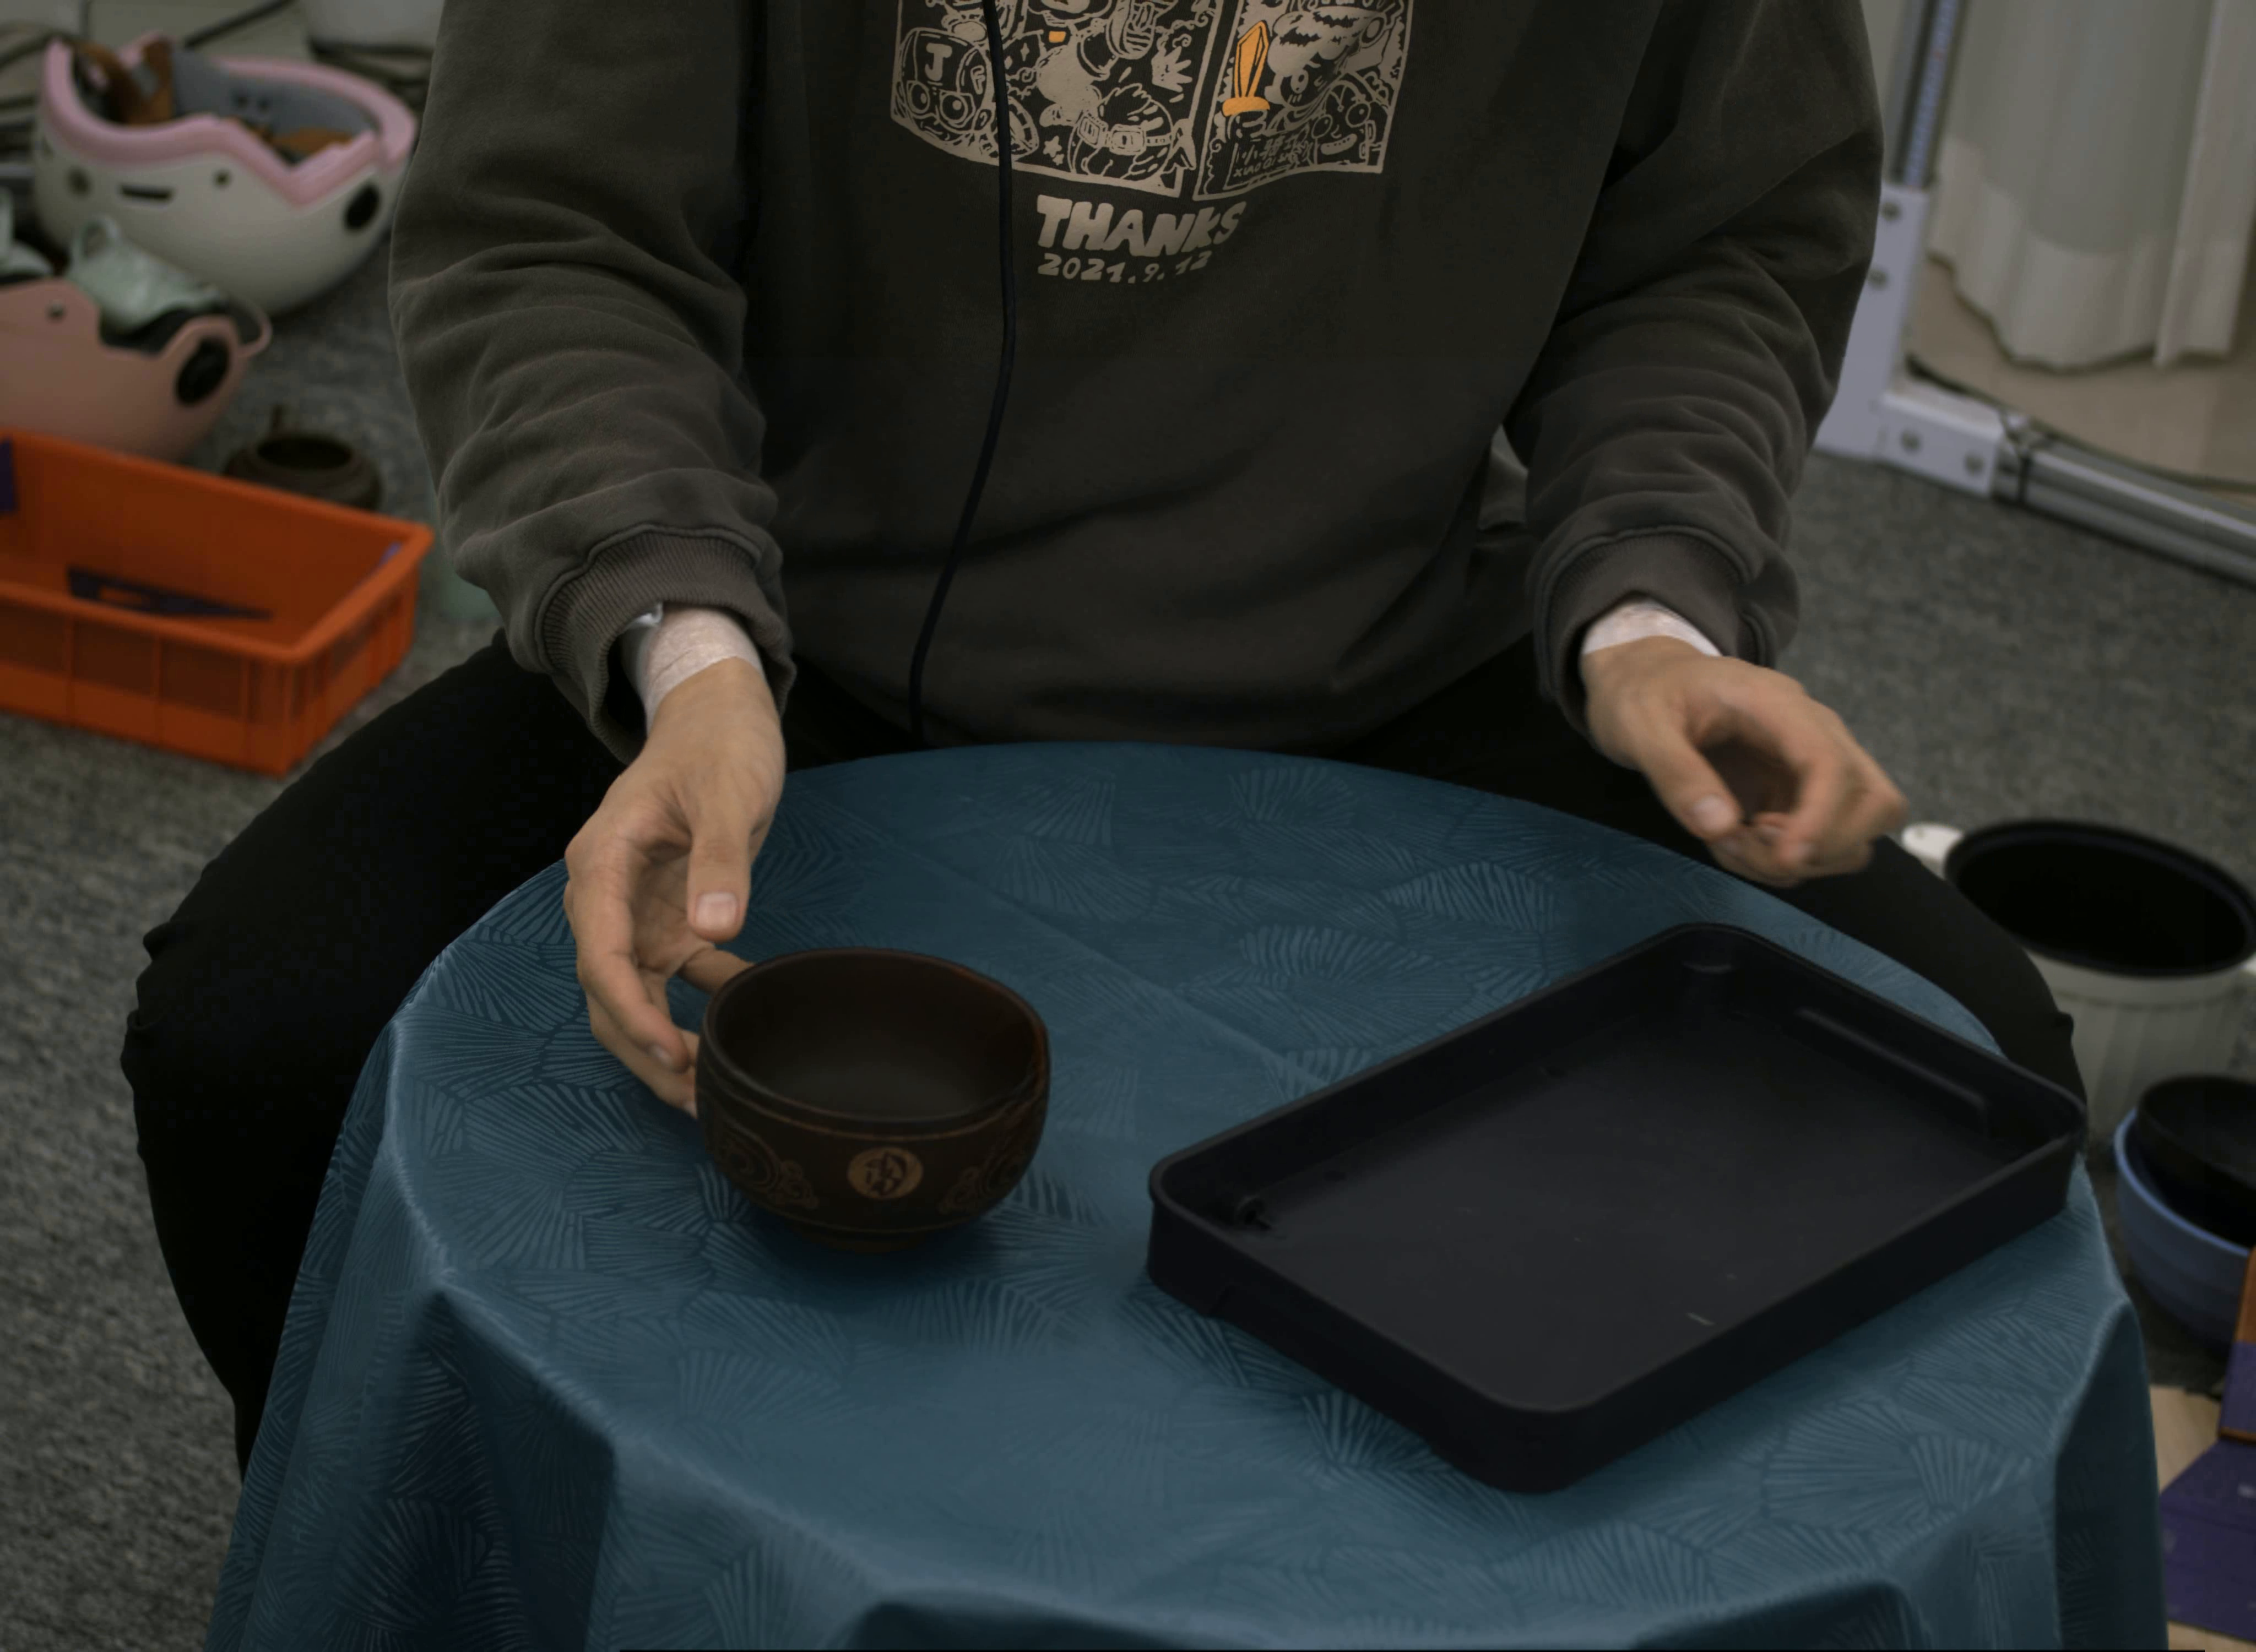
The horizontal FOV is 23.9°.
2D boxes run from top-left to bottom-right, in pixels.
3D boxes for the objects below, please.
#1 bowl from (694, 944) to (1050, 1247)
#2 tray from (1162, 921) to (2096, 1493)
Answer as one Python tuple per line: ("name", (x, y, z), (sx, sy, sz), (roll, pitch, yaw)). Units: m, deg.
("bowl", (-0.086, 0.096, 1.760), (0.117, 0.069, 0.119), (5, 25, -2))
("tray", (0.173, 0.122, 1.807), (0.185, 0.037, 0.316), (26, 33, 35))
